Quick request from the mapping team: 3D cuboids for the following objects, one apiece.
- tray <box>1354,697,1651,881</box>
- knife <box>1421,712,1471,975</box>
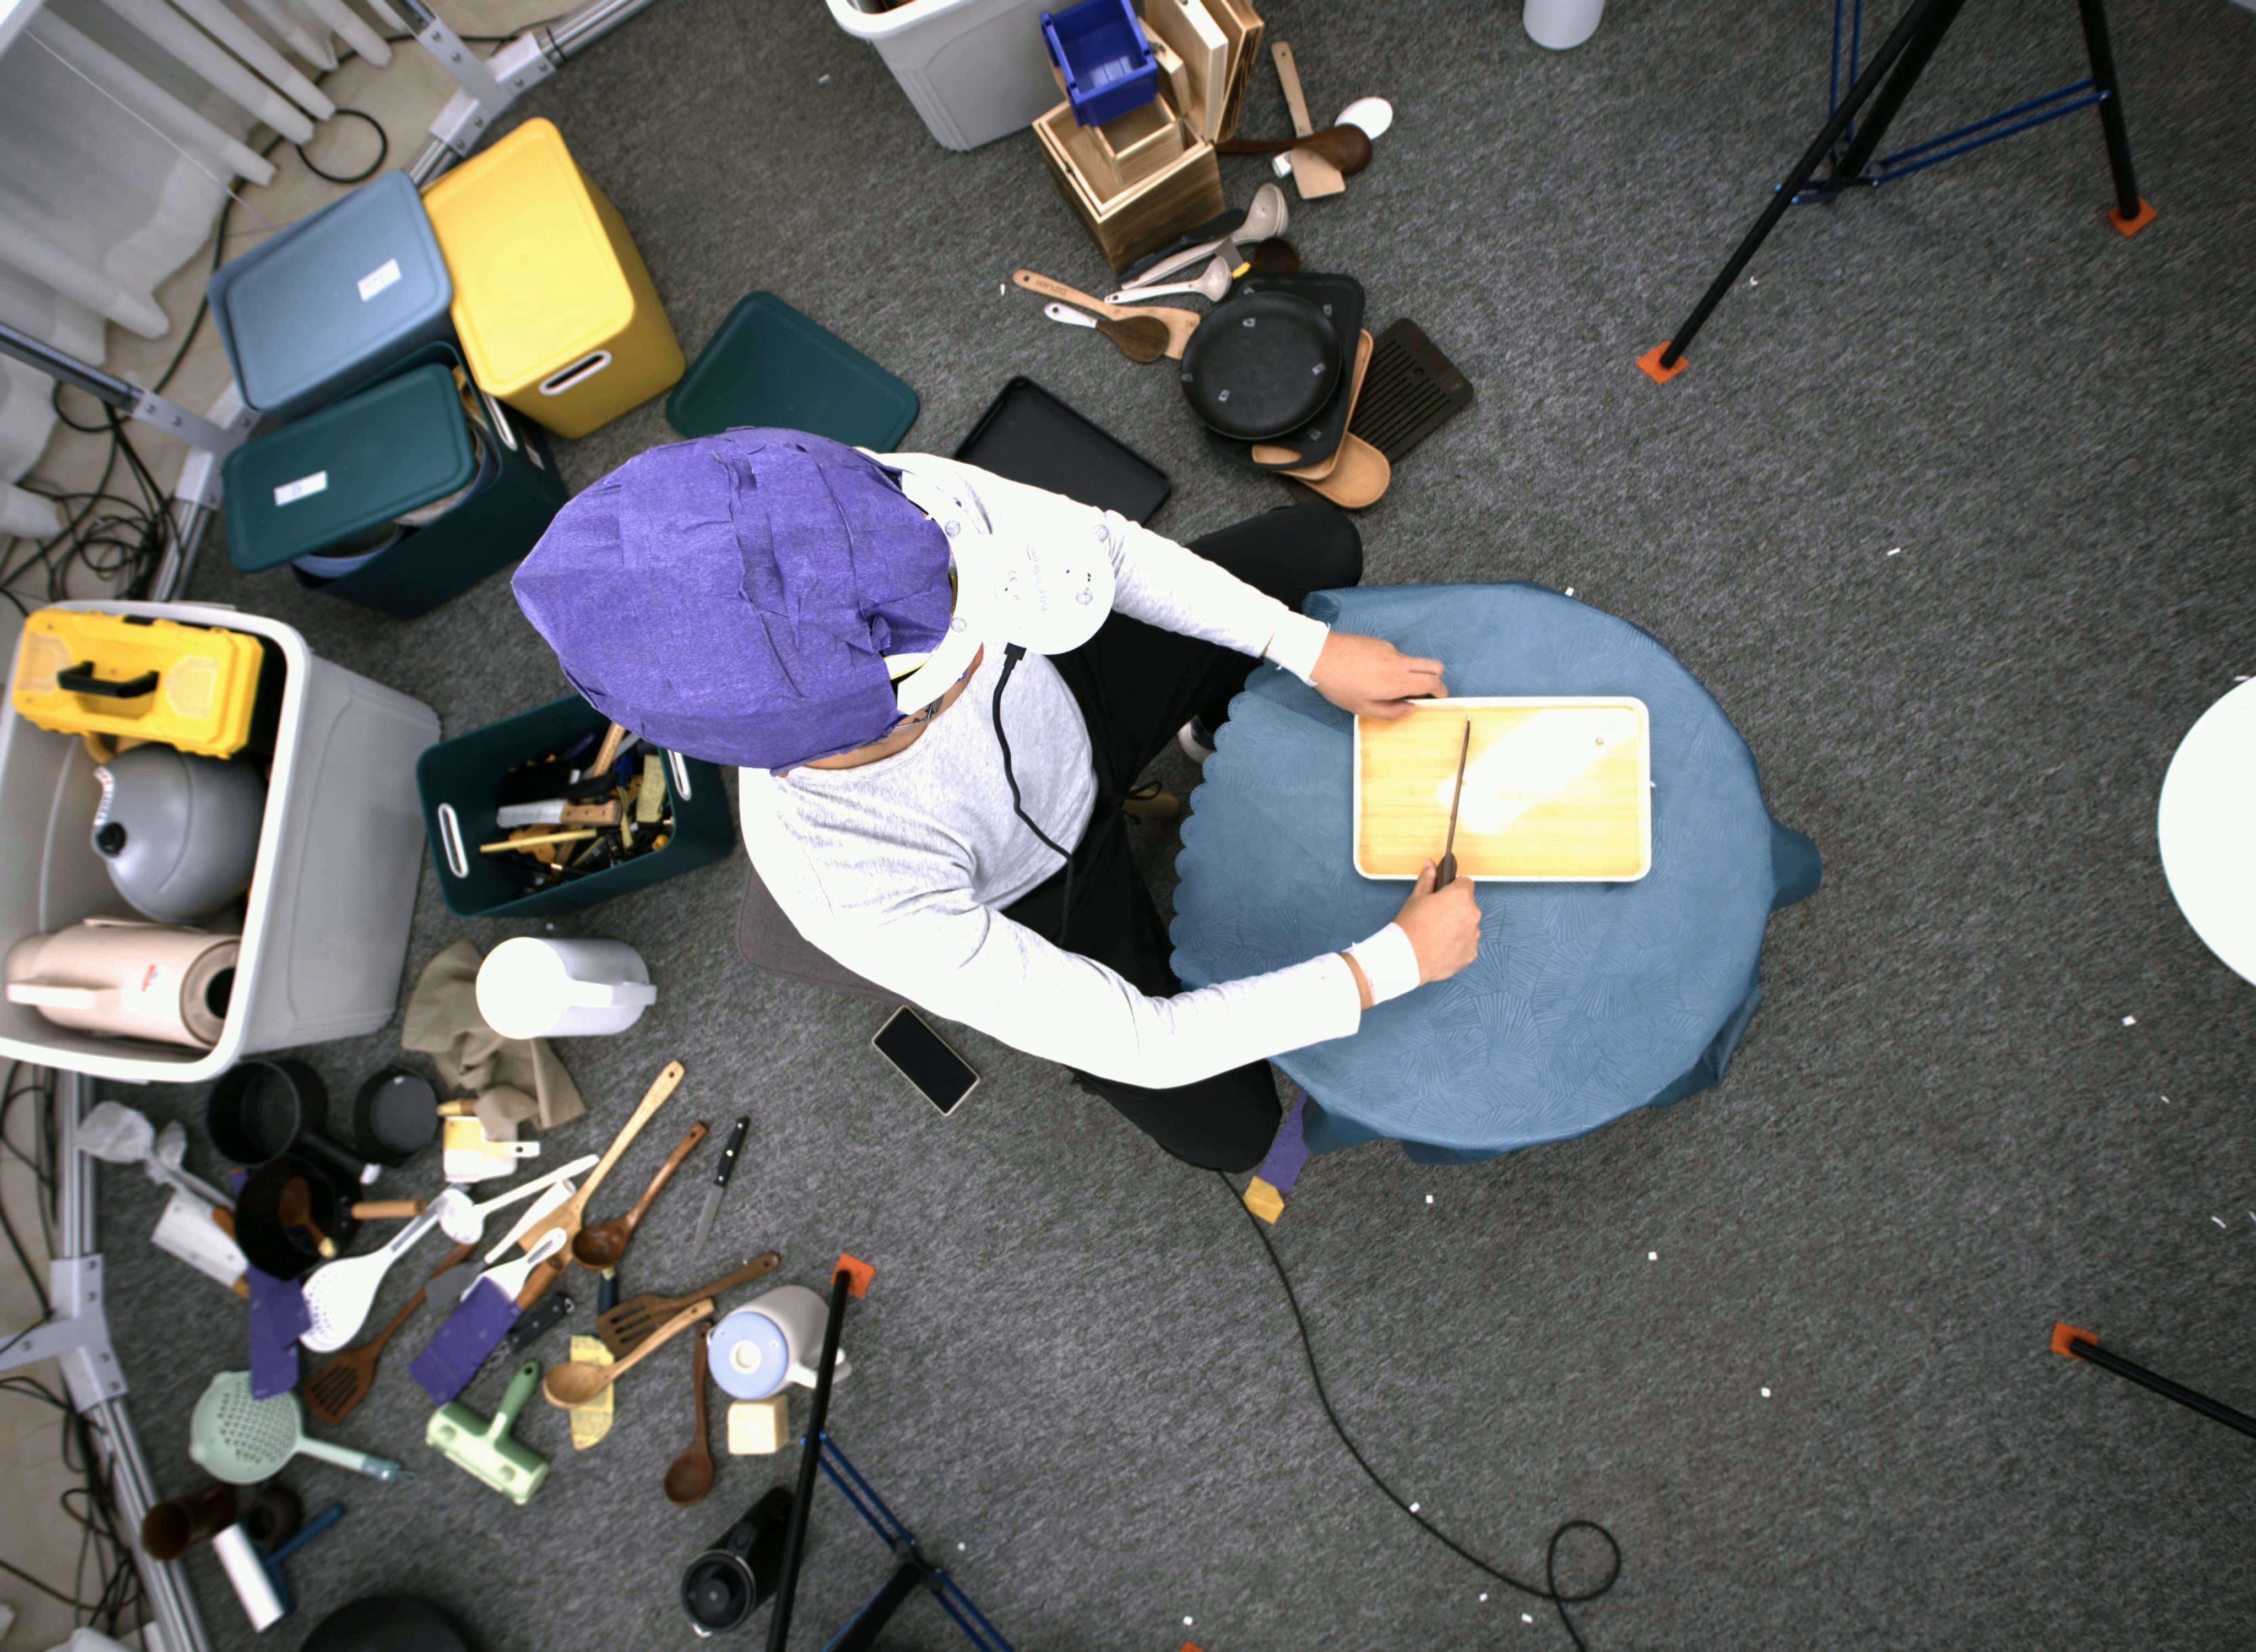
[{"bbox_3d":[0.387,-0.041,1.431,0.301,0.027,0.191,0,87,11],"label":"tray"},{"bbox_3d":[0.329,0.012,1.406,0.020,0.051,0.285,11,76,4],"label":"knife"}]
